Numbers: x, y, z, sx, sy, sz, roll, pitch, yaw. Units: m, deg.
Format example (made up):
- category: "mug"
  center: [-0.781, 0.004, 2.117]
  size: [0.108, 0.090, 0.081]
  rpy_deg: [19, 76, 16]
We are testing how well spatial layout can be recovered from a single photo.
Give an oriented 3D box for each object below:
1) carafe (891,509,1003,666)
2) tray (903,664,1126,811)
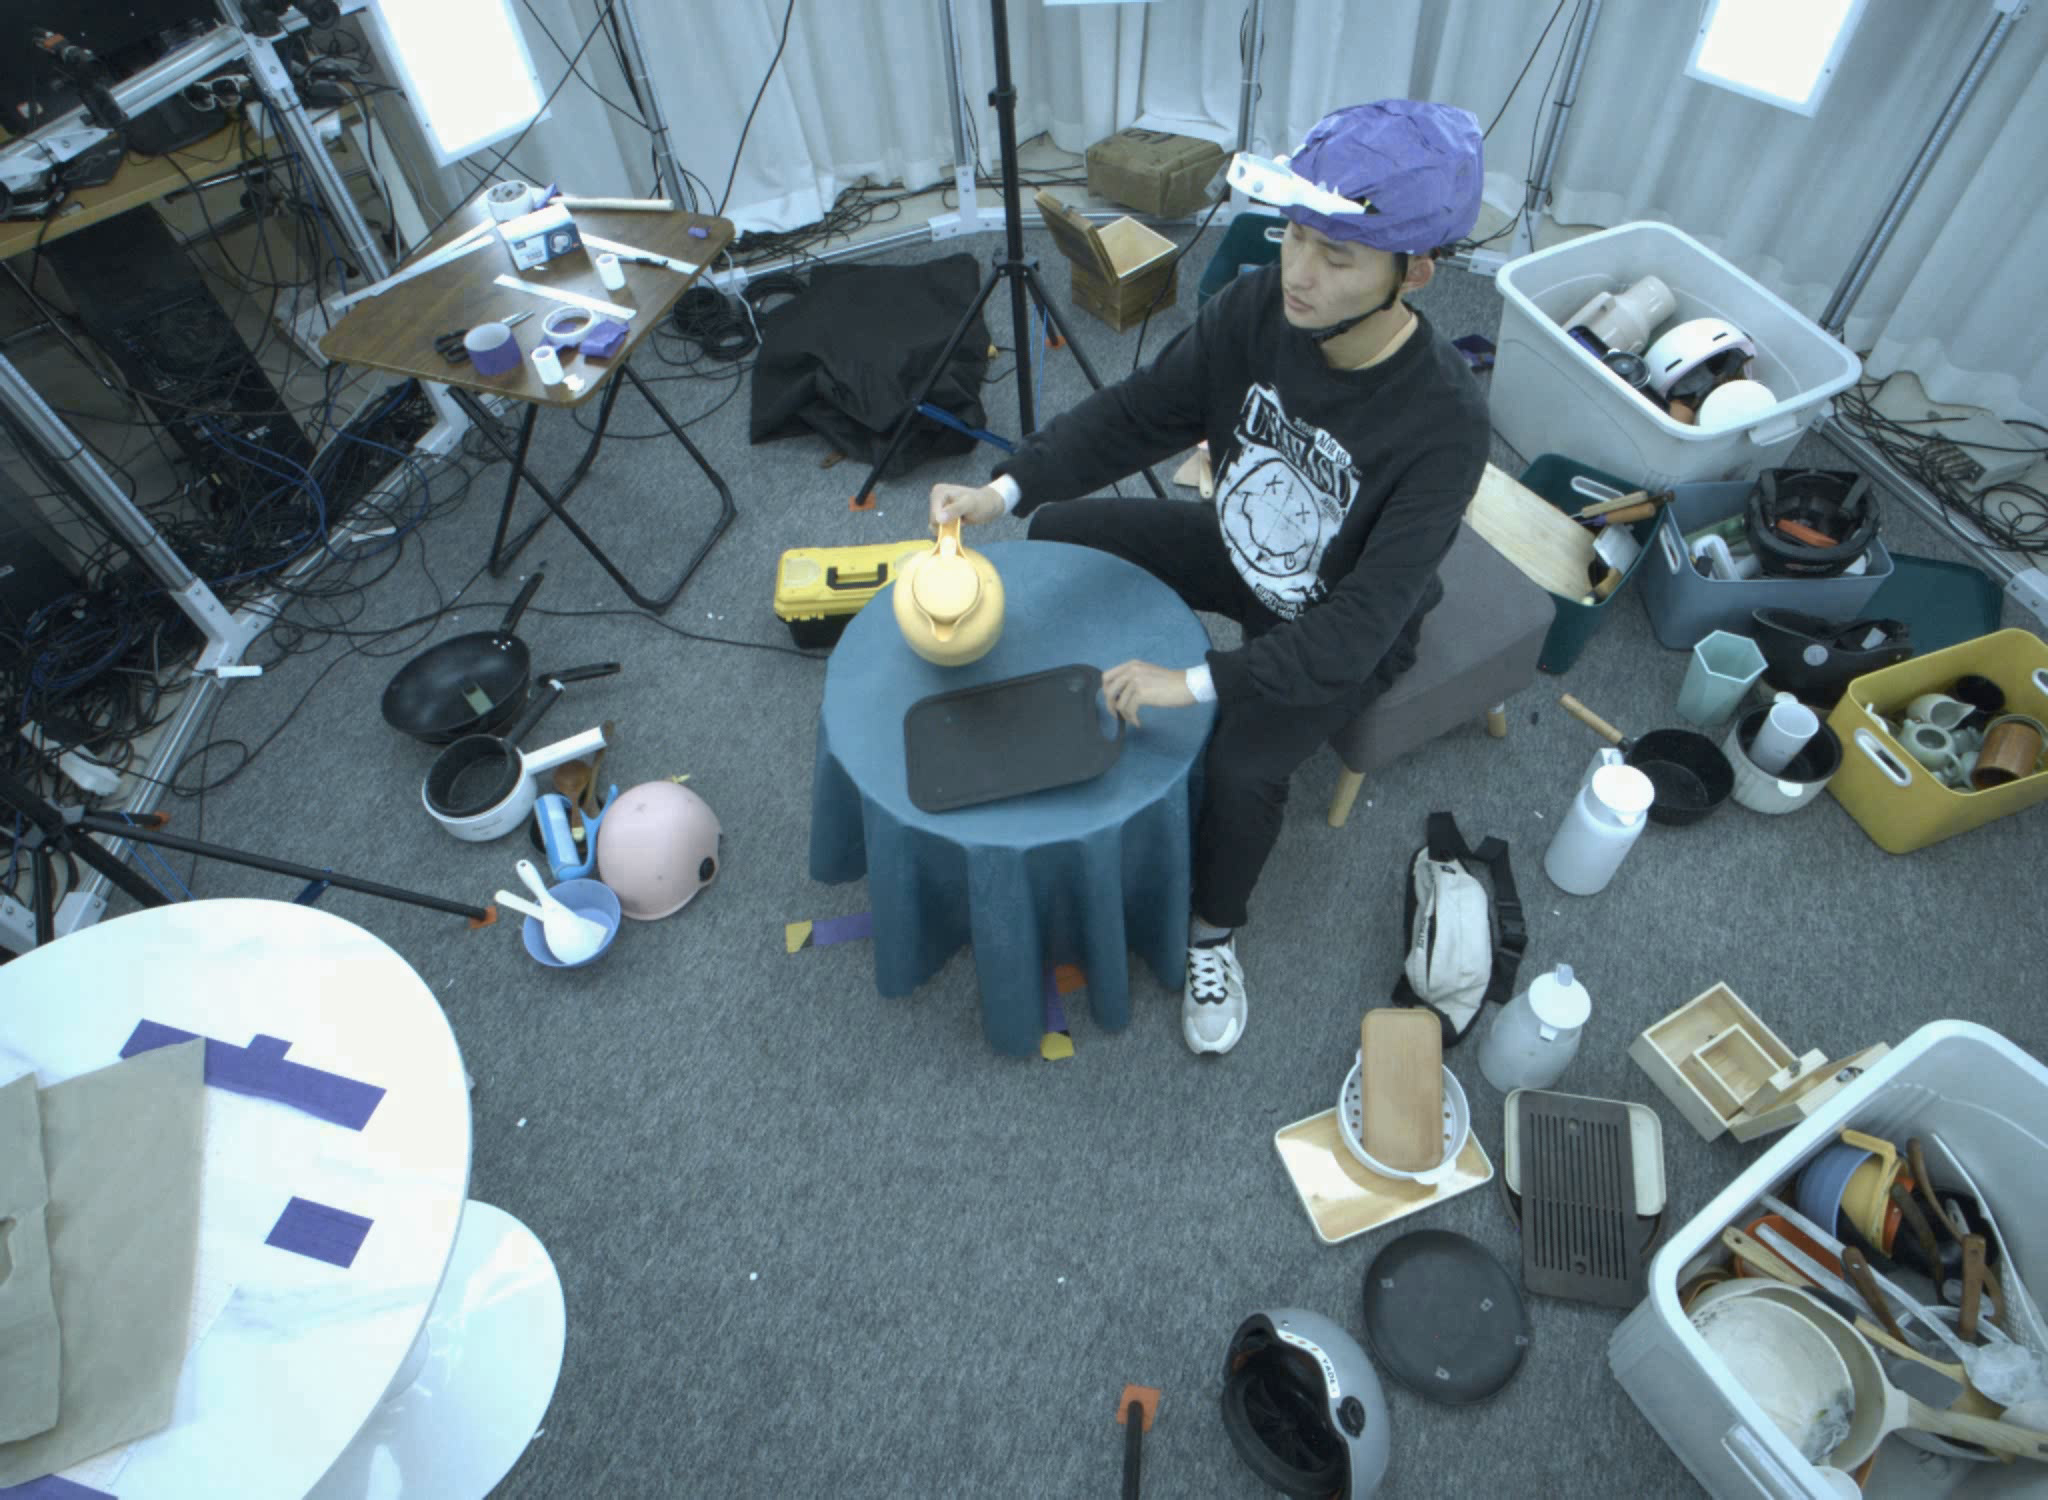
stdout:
- category: "carafe"
  center: [-0.108, -0.232, 1.761]
  size: [0.164, 0.259, 0.202]
  rpy_deg: [5, 87, -4]
- category: "tray"
  center: [-0.016, -0.024, 1.769]
  size: [0.324, 0.010, 0.208]
  rpy_deg: [-11, 55, 4]
